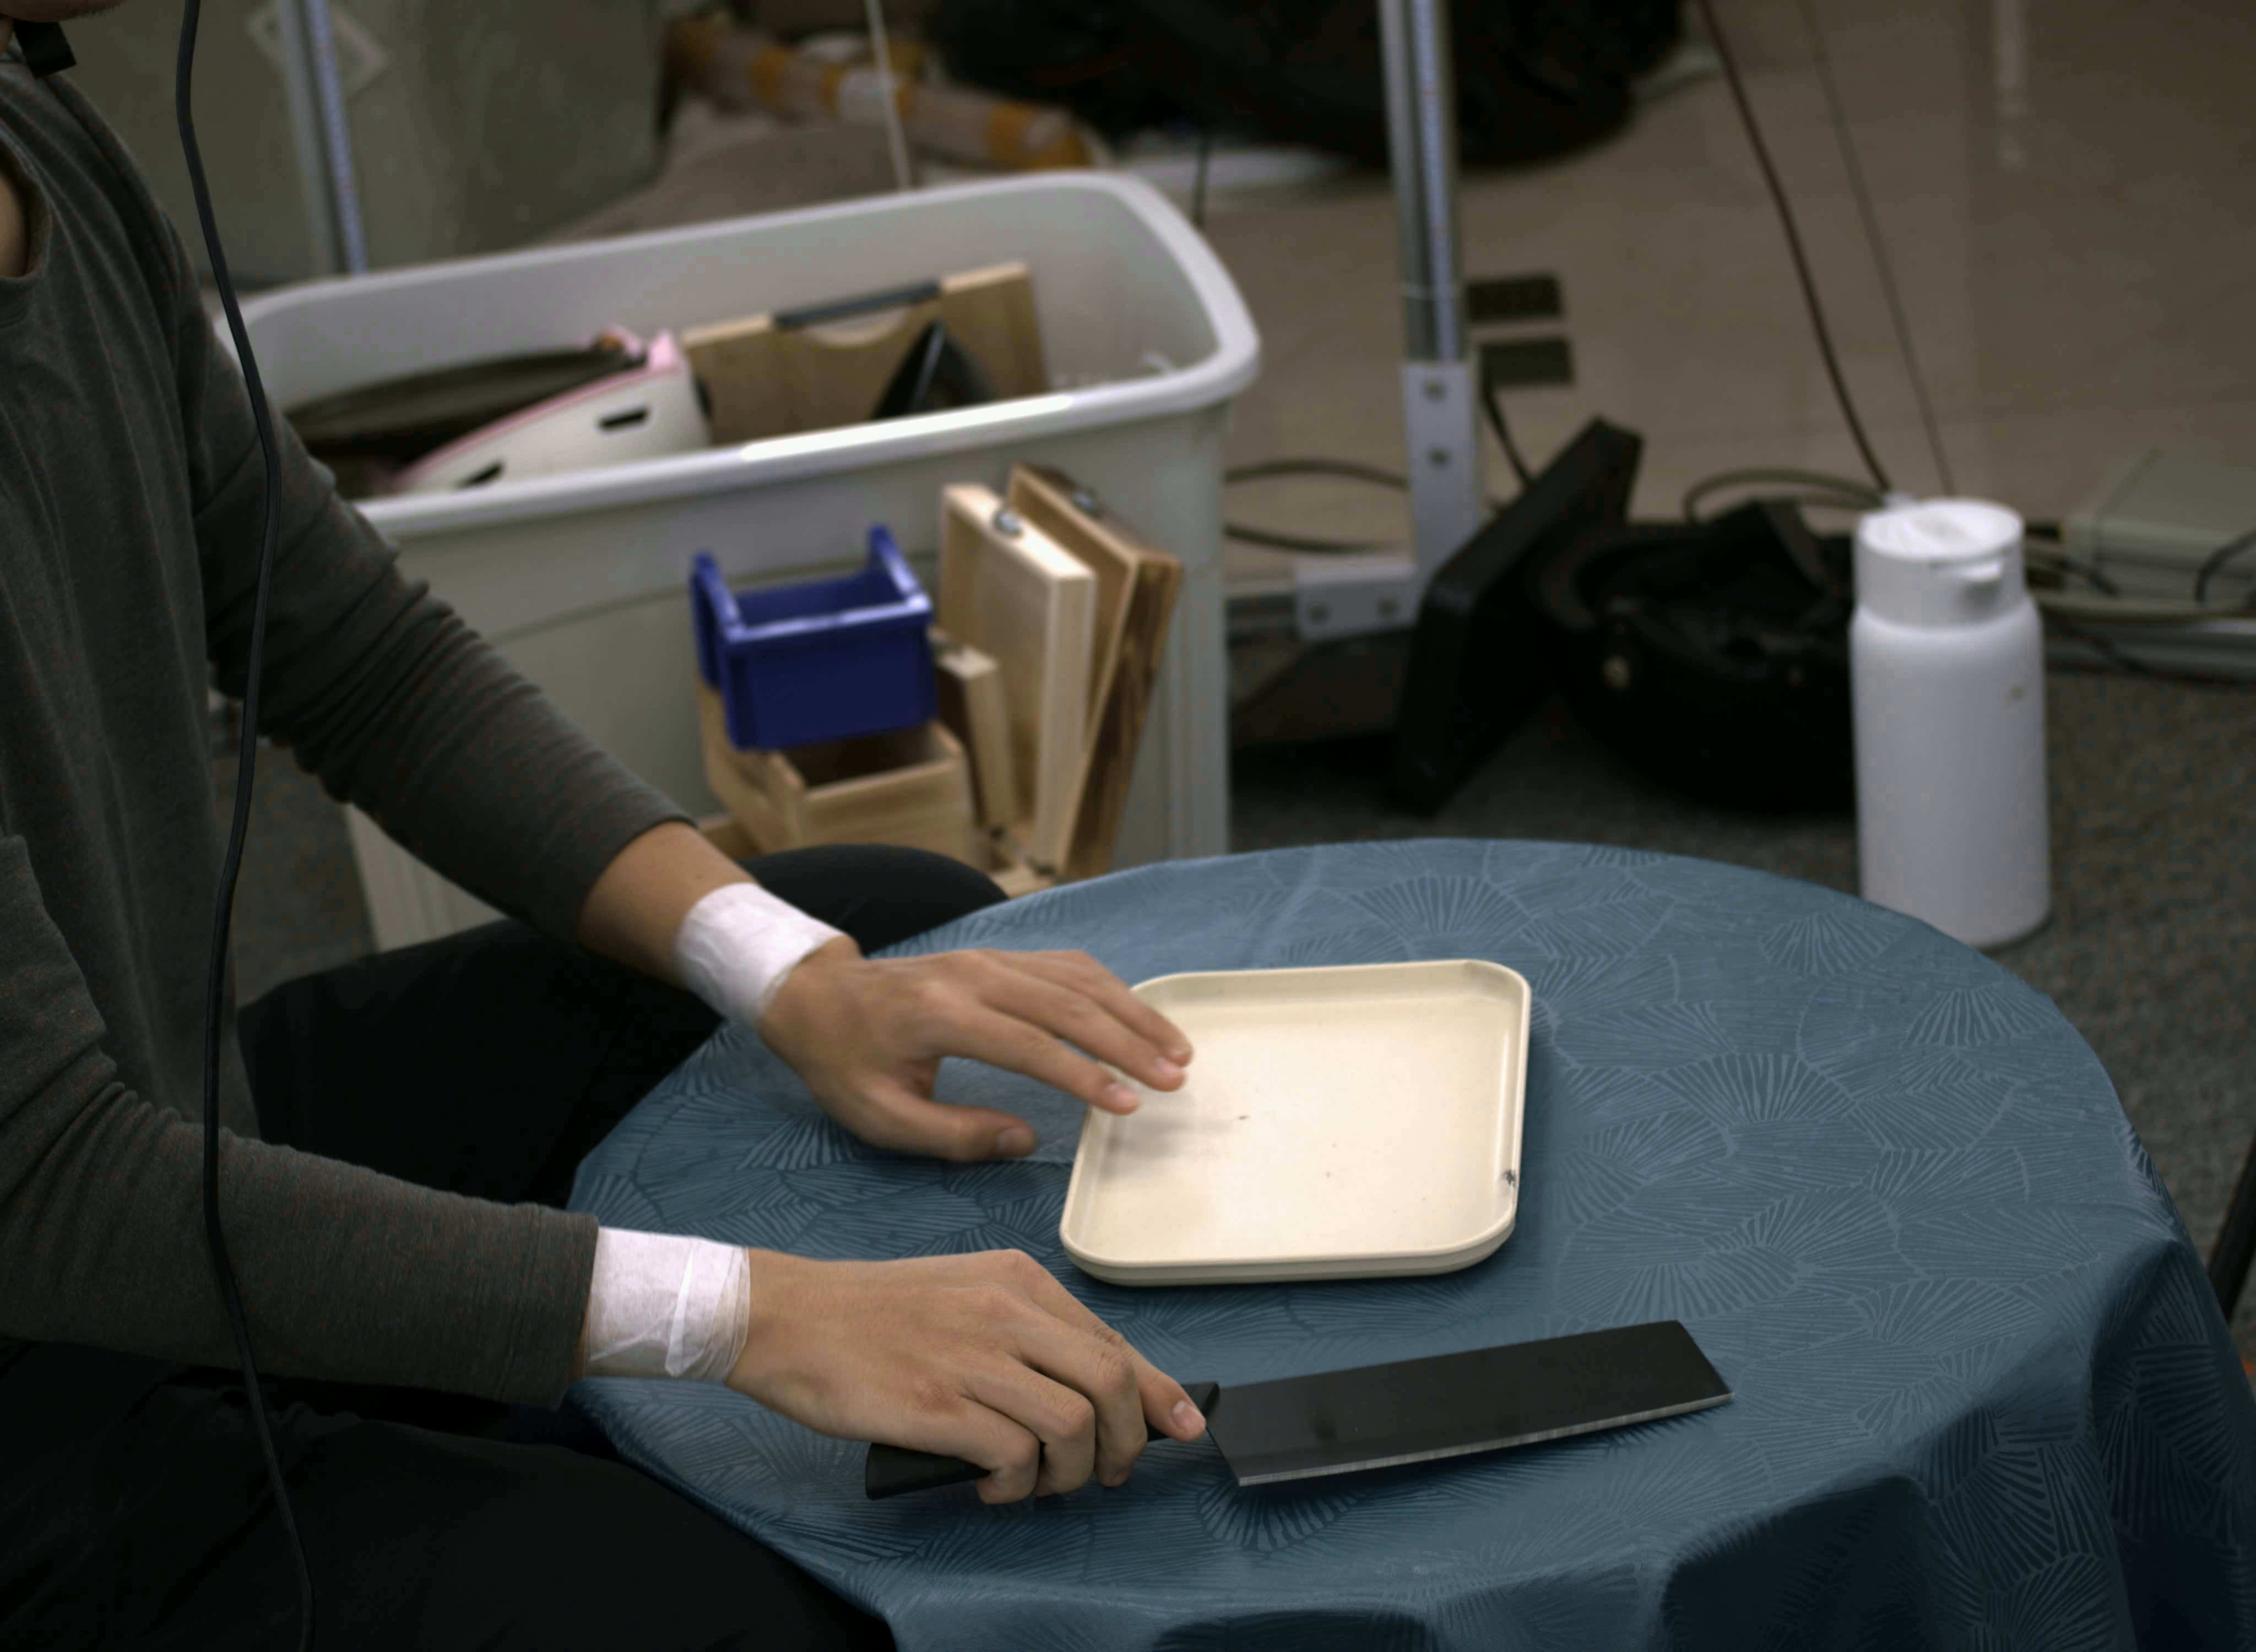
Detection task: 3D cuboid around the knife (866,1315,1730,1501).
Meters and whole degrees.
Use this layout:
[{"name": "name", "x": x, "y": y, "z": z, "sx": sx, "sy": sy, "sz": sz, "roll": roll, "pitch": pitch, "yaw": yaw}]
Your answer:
[{"name": "knife", "x": 0.058, "y": 0.205, "z": 1.965, "sx": 0.302, "sy": 0.021, "sz": 0.080, "roll": -6, "pitch": 25, "yaw": -8}]

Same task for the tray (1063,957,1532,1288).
[{"name": "tray", "x": 0.068, "y": 0.113, "z": 2.170, "sx": 0.171, "sy": 0.018, "sz": 0.236, "roll": -4, "pitch": 25, "yaw": 8}]
